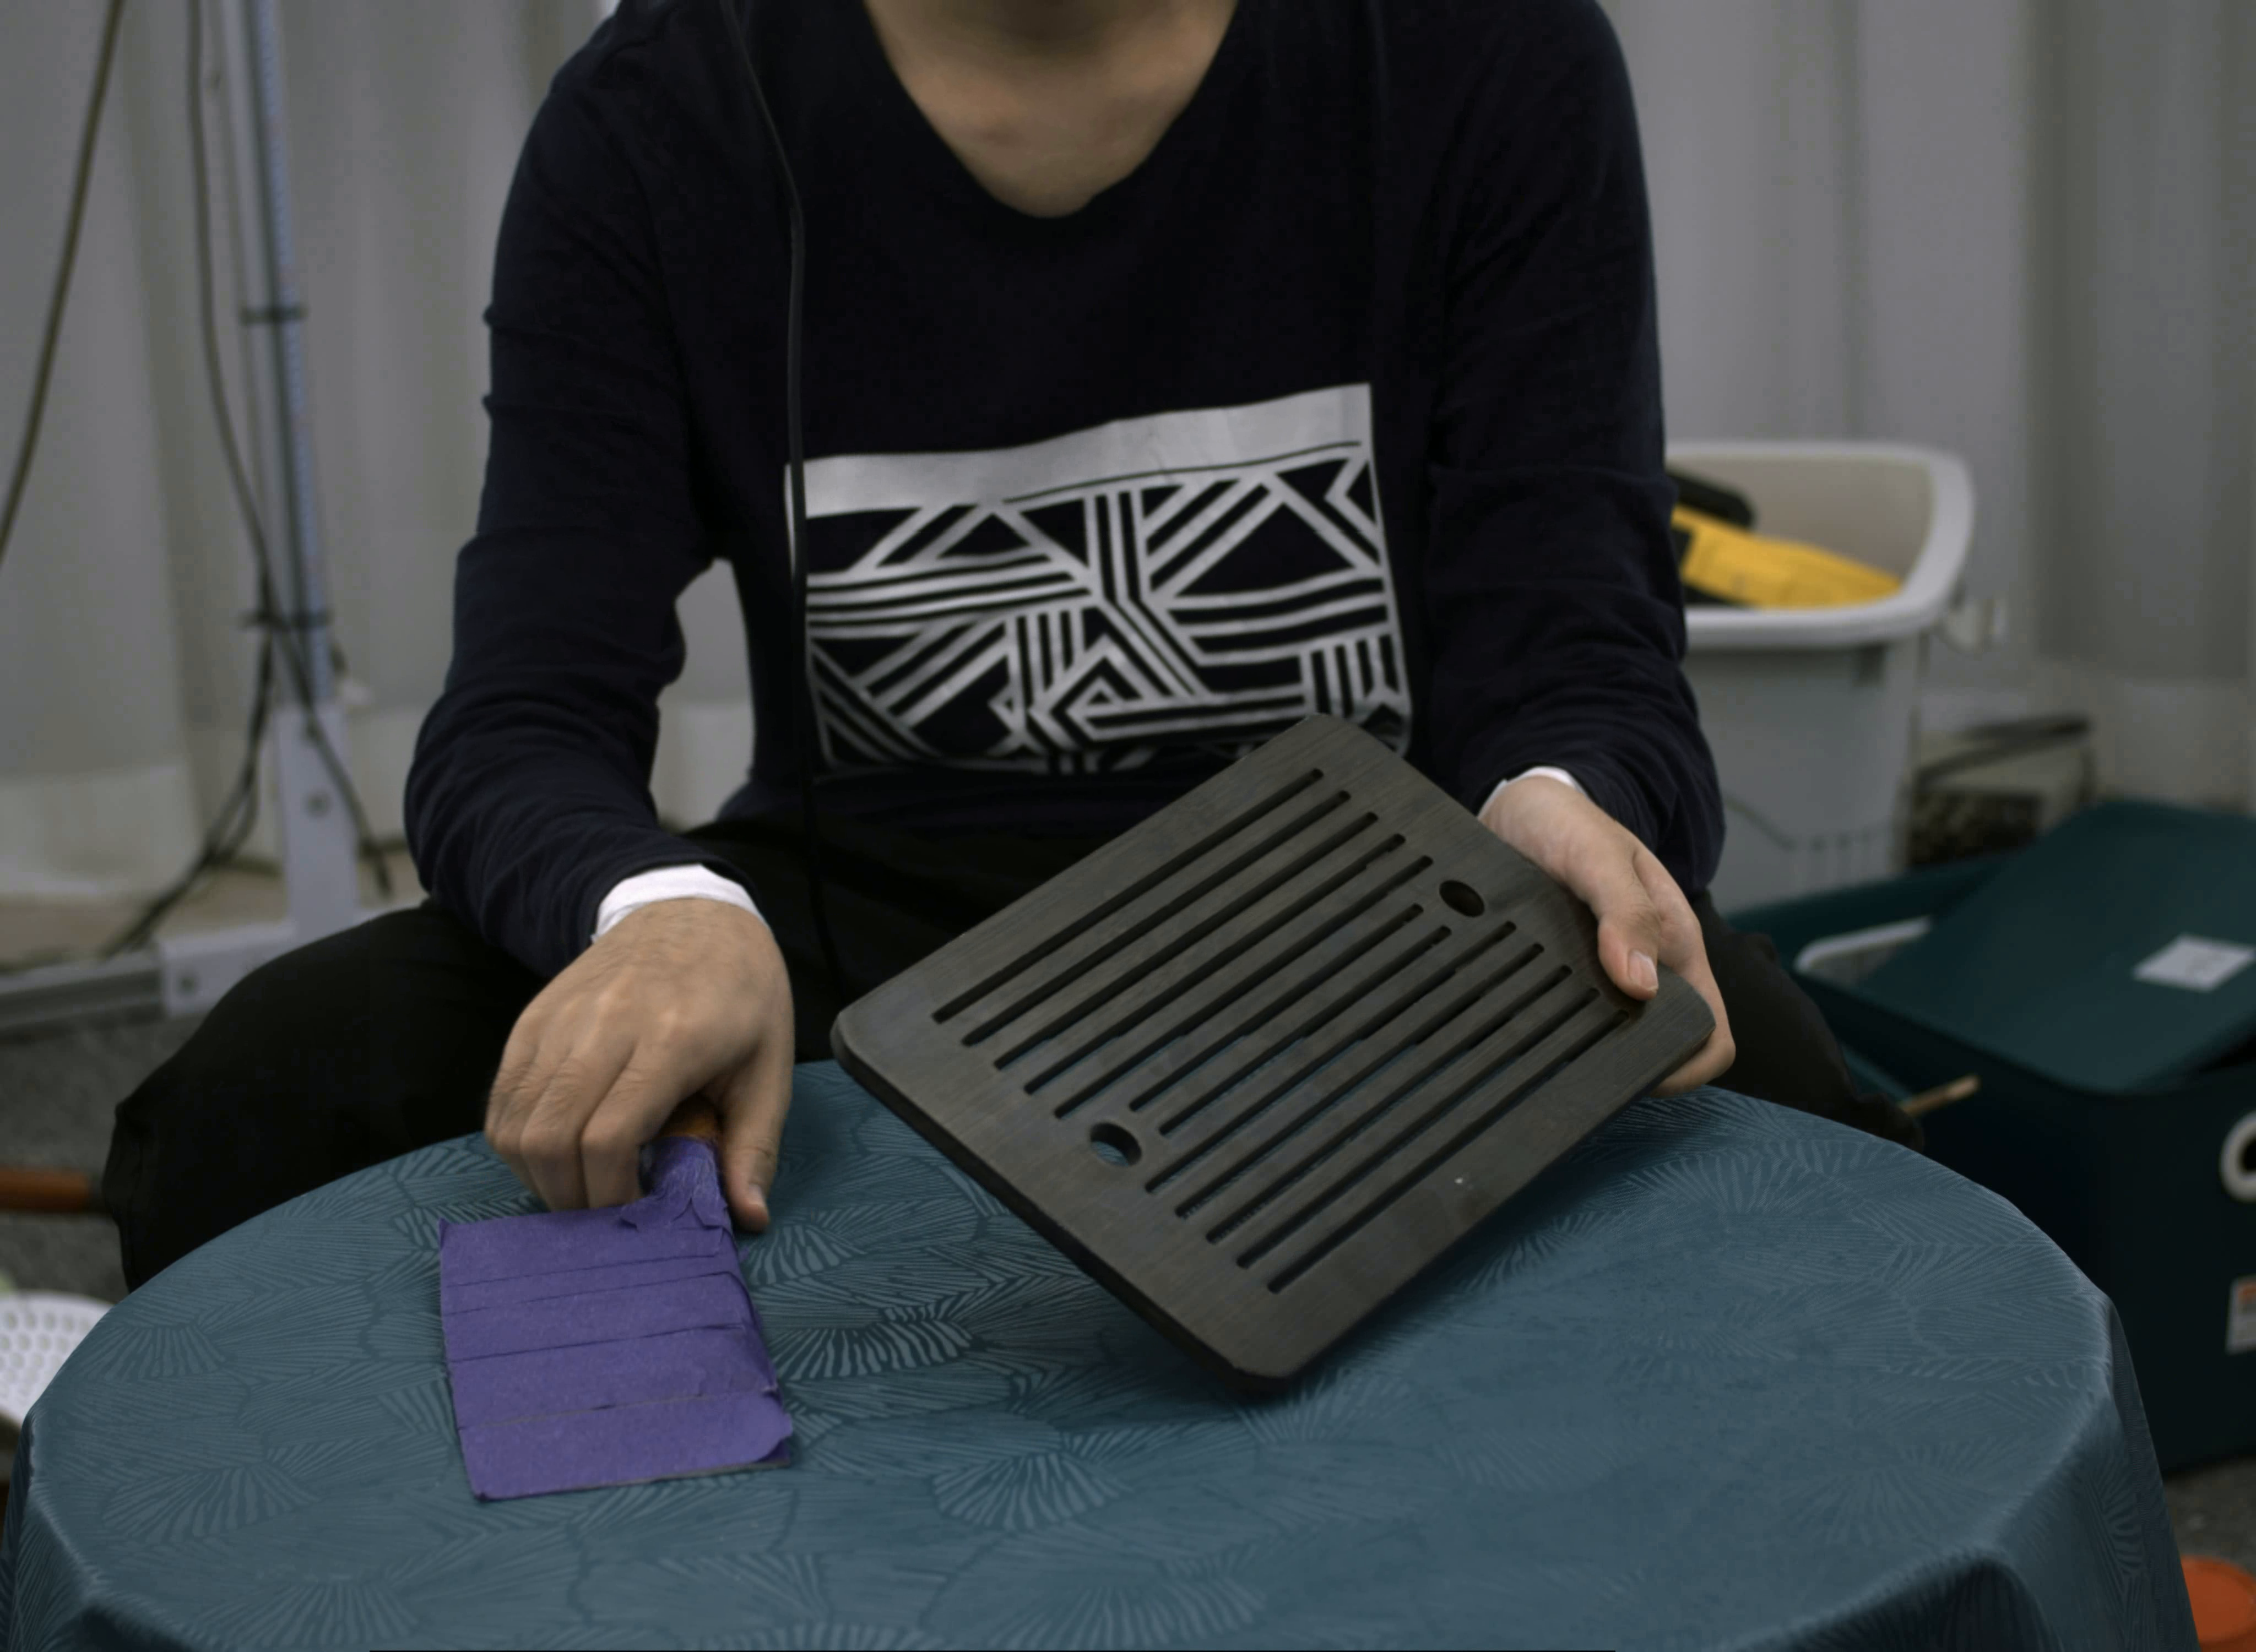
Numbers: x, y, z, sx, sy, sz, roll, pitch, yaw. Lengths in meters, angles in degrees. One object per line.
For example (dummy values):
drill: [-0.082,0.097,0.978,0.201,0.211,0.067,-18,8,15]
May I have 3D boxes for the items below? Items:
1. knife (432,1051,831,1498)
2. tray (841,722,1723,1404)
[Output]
knife: [-0.159,0.130,1.637,0.103,0.032,0.318,-5,15,-9]
tray: [0.052,0.067,1.666,0.171,0.018,0.306,38,34,15]
